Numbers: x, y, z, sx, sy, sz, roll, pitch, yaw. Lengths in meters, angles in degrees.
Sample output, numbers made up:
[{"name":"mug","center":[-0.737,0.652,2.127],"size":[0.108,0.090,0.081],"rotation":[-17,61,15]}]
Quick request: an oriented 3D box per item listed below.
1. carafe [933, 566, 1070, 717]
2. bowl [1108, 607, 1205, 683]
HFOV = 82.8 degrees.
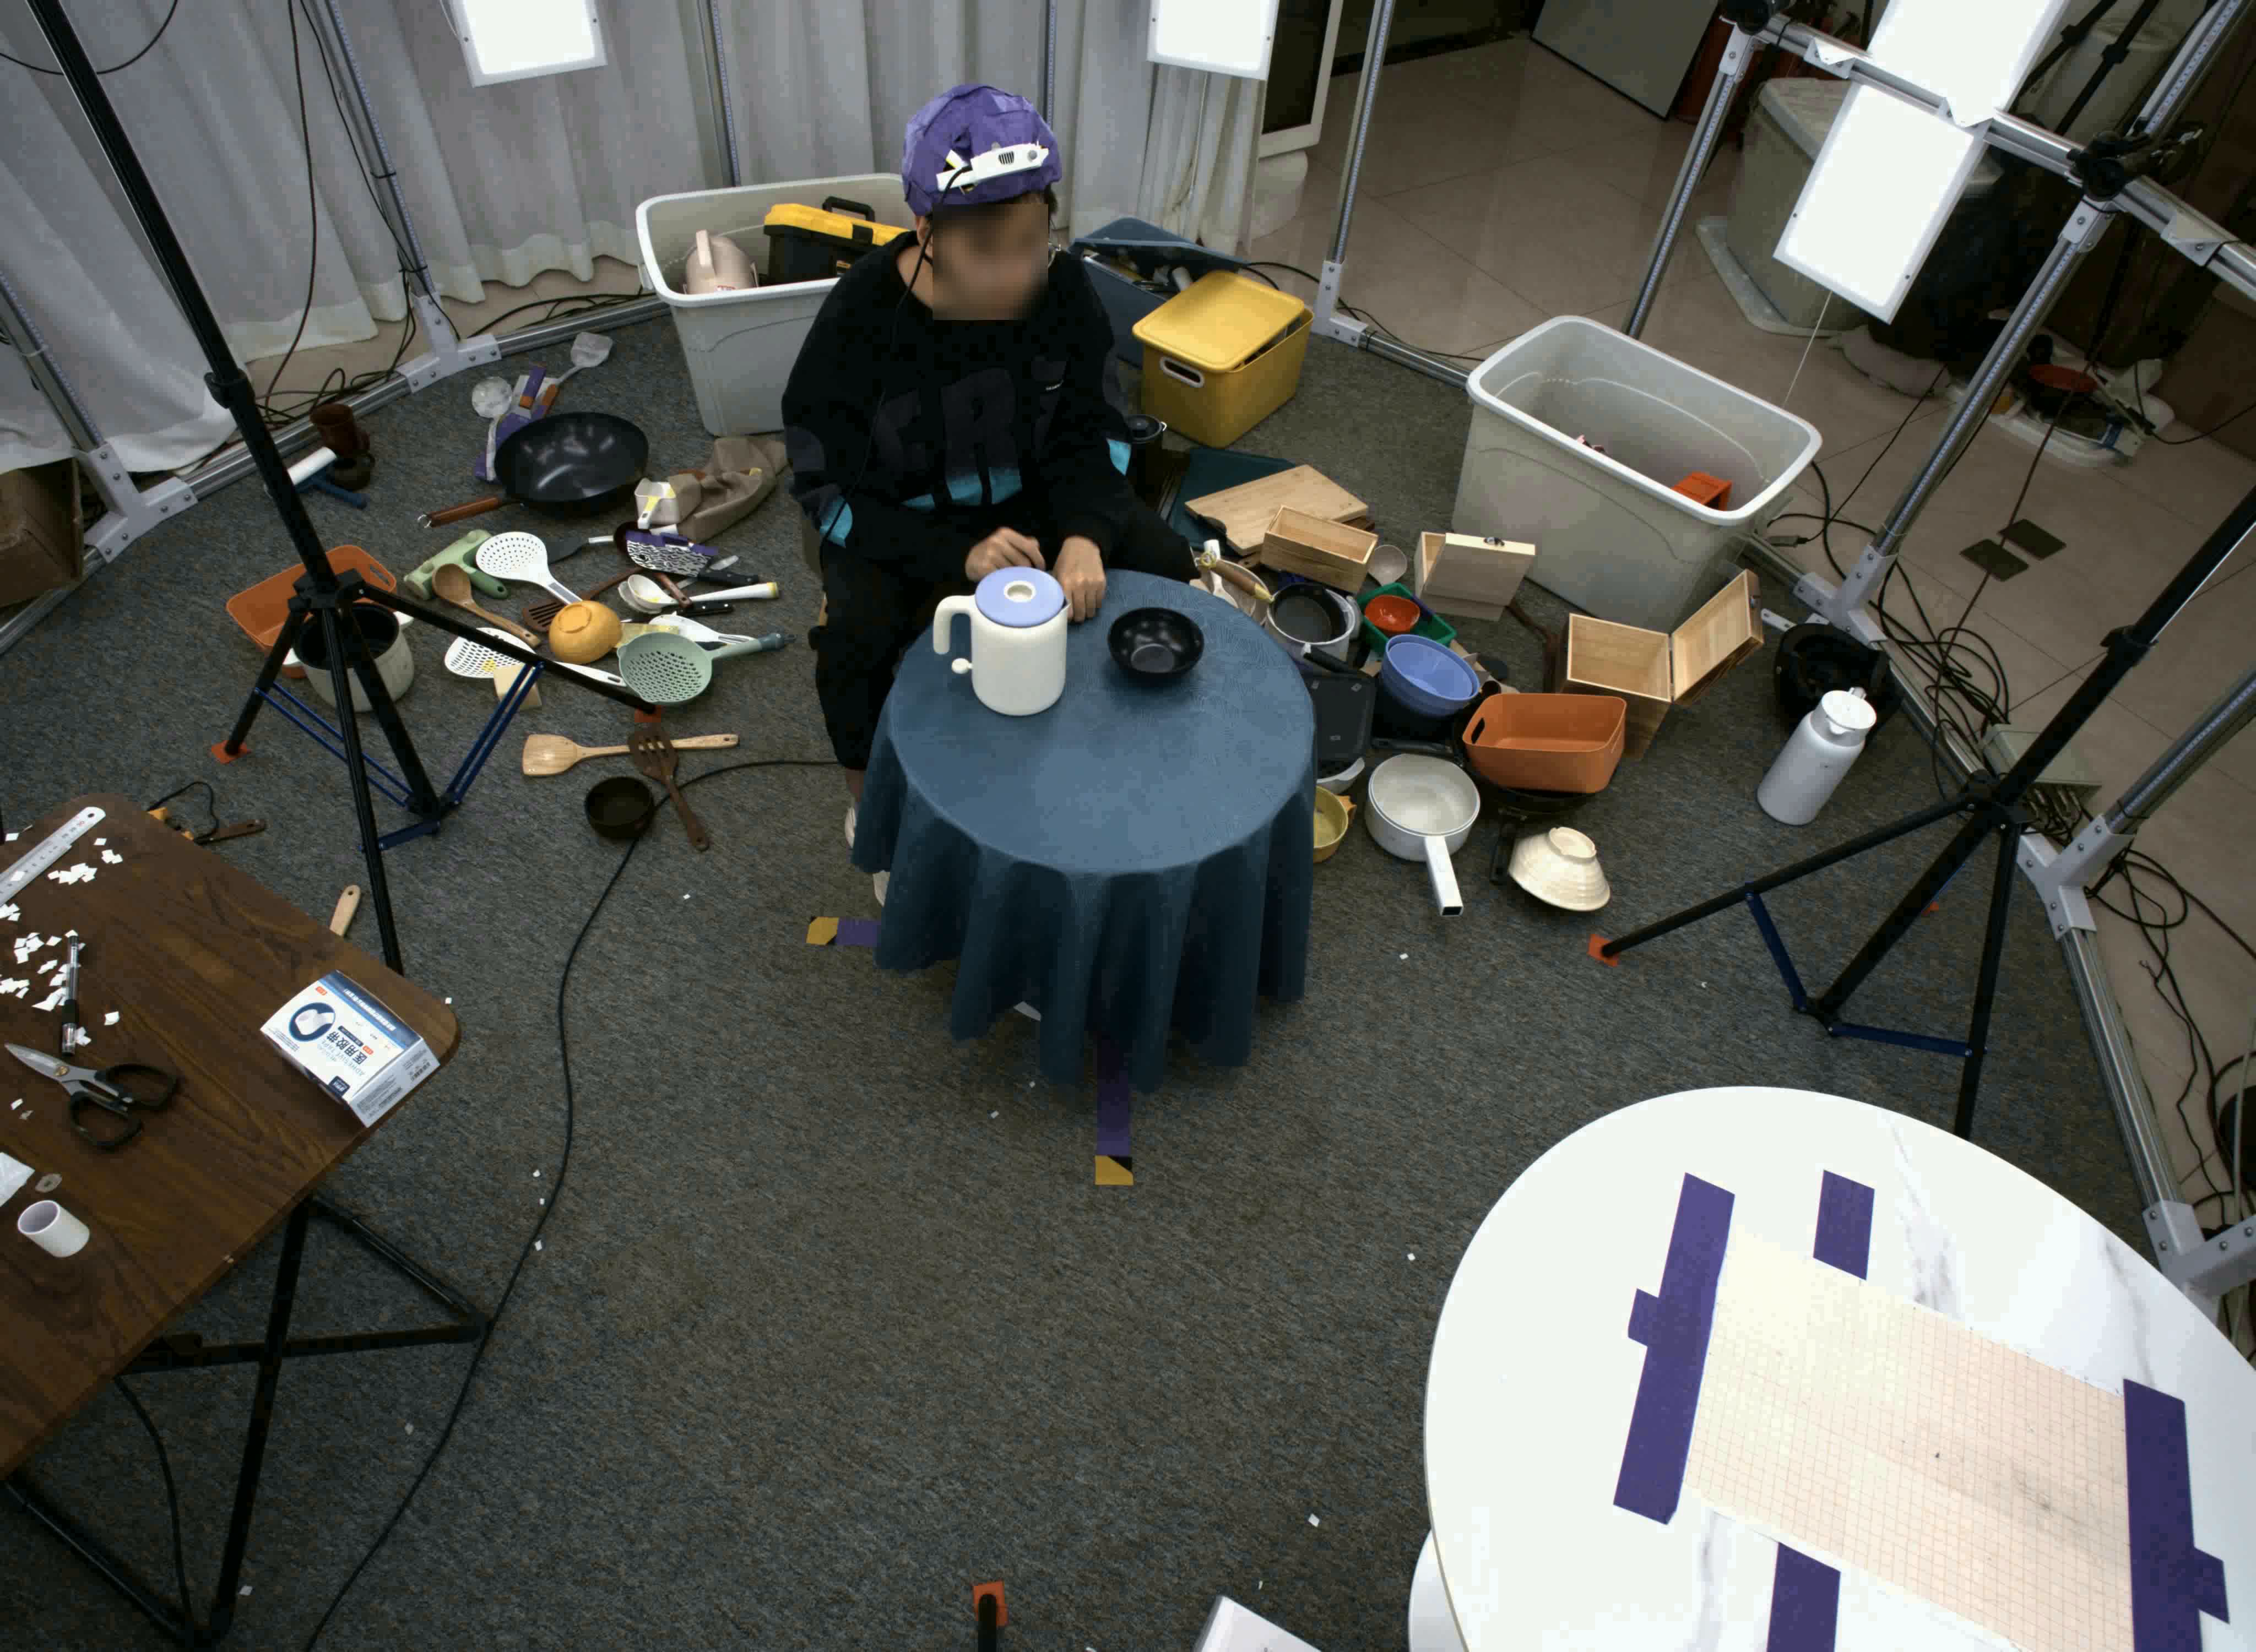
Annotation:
[{"name":"carafe","center":[-0.173,-0.254,1.768],"size":[0.191,0.178,0.135],"rotation":[3,48,2]},{"name":"bowl","center":[0.040,-0.253,1.859],"size":[0.140,0.048,0.143],"rotation":[1,49,-1]}]
